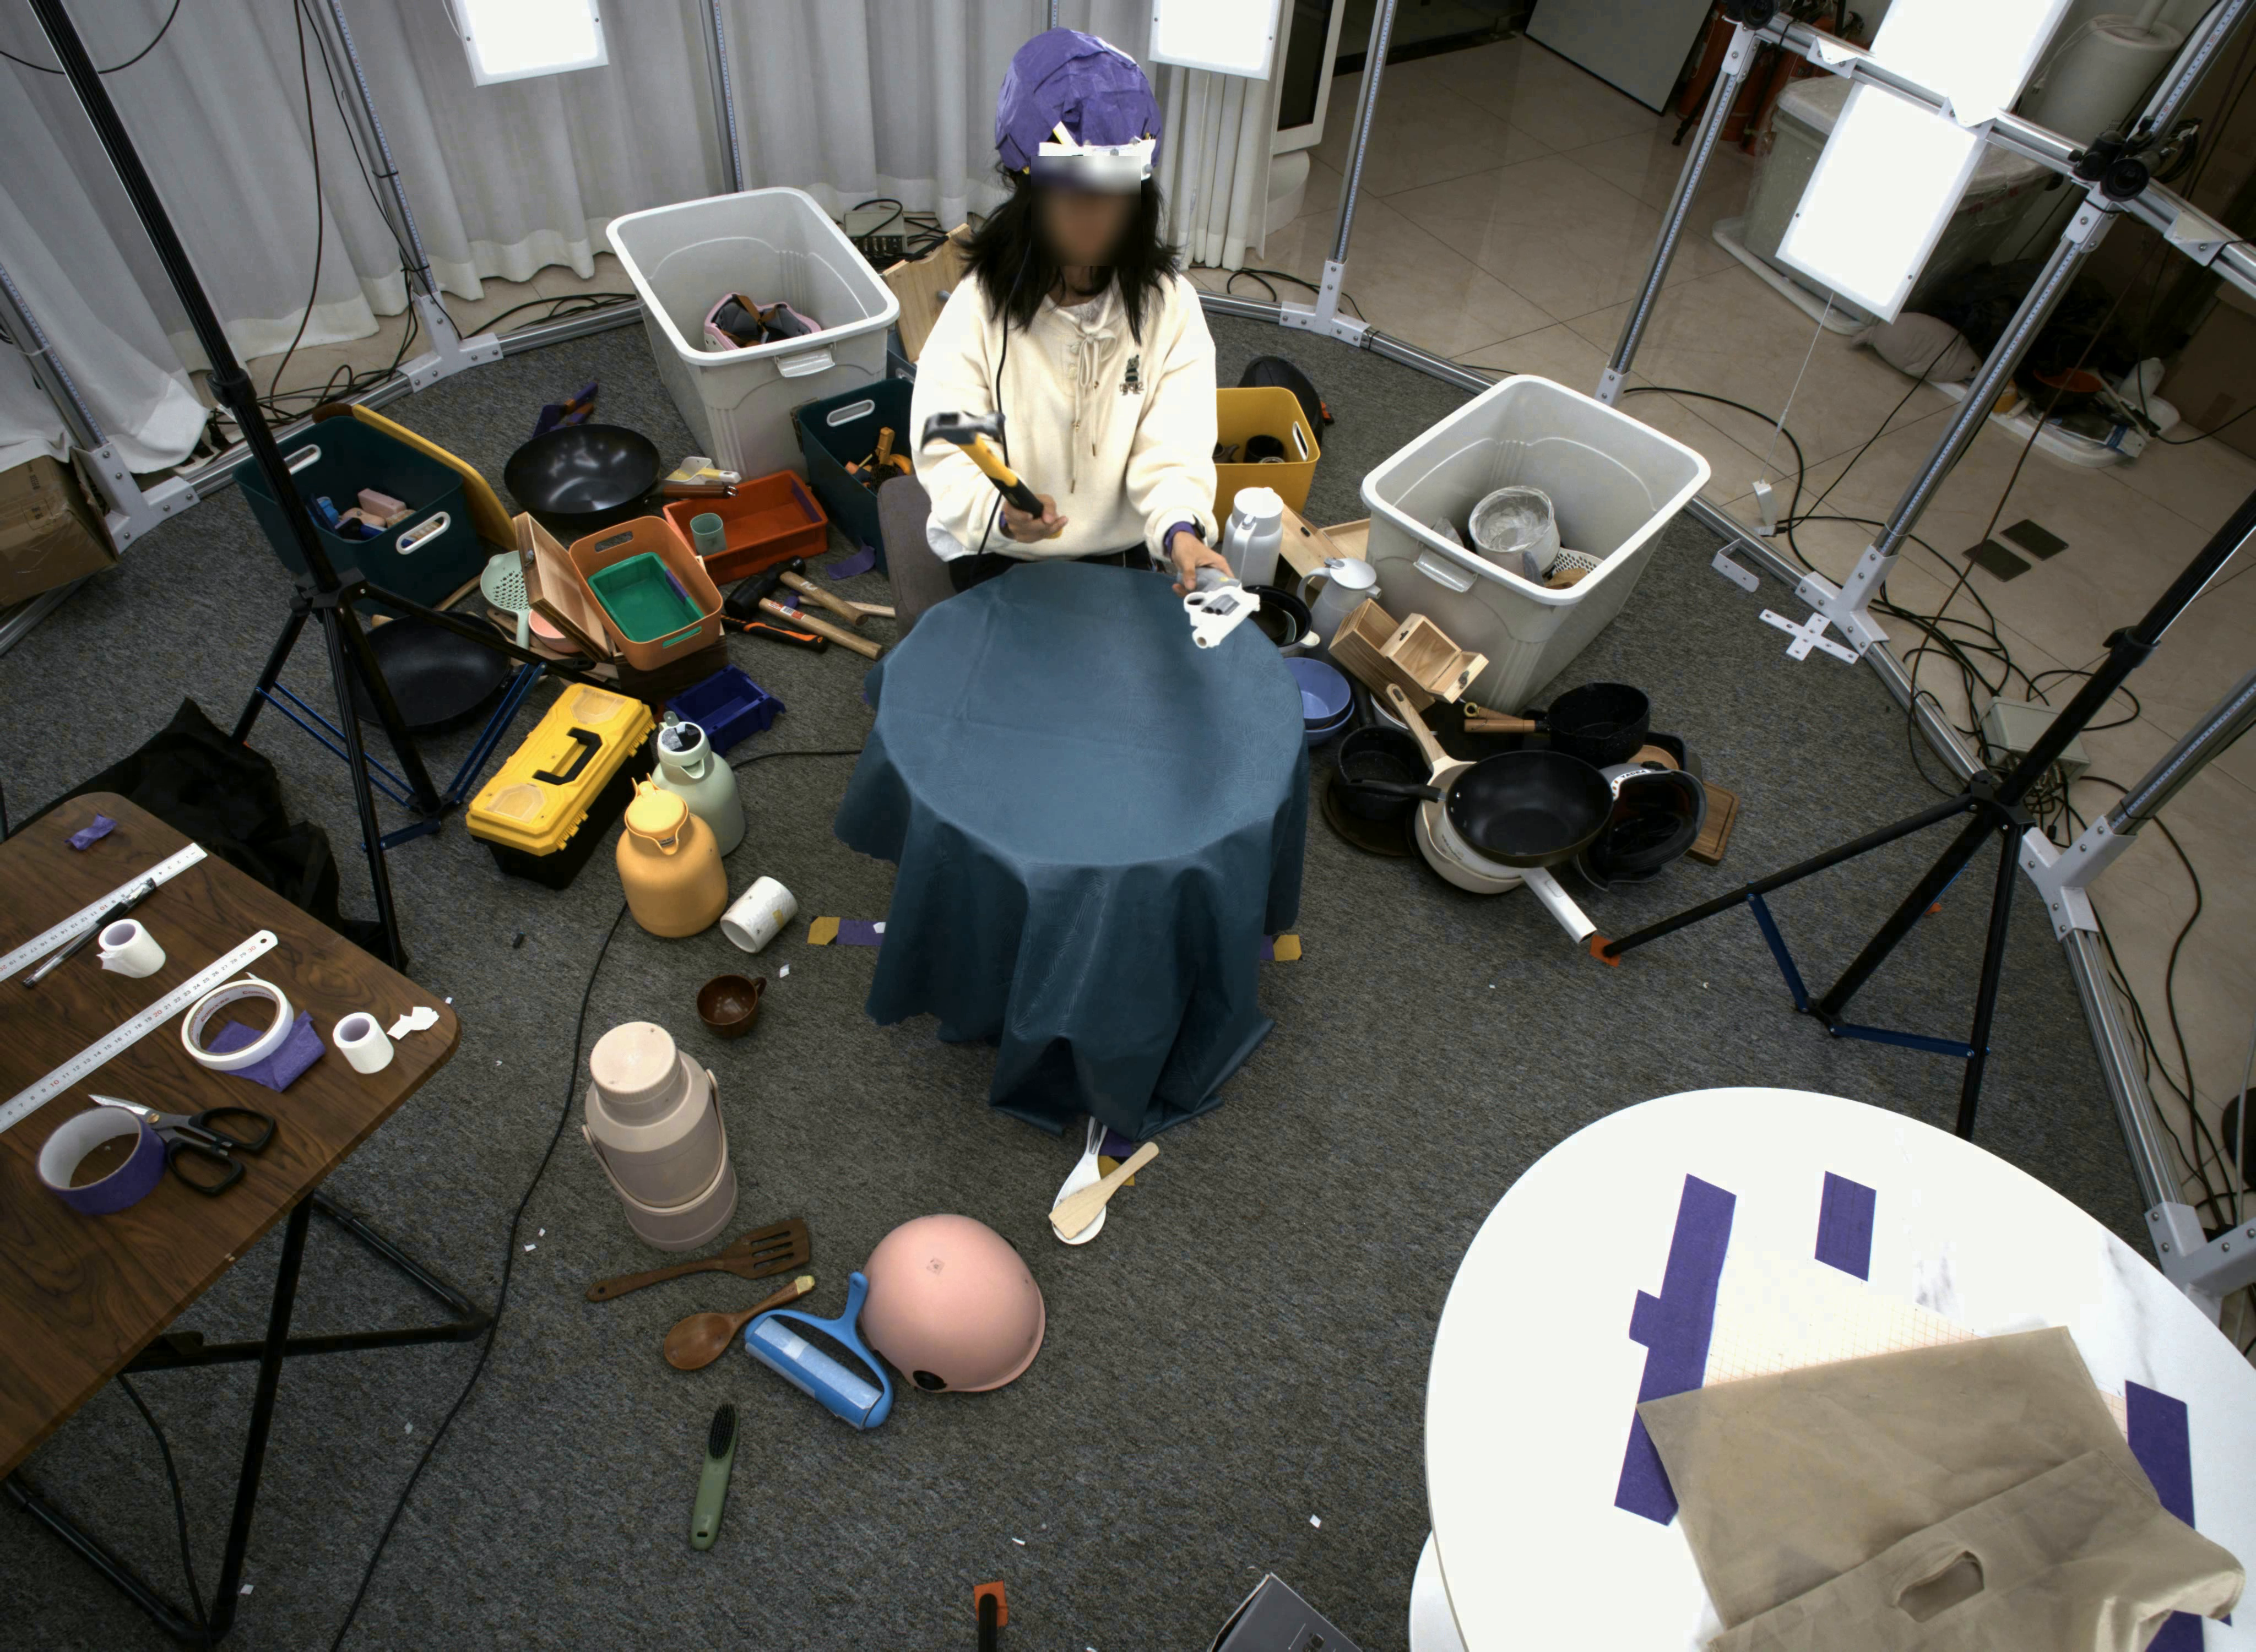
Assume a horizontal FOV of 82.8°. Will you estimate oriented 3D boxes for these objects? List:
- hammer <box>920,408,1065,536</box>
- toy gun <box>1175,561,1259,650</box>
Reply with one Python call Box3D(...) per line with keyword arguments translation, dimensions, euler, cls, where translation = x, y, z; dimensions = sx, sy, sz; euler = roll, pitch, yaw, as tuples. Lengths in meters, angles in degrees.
Box3D(translation=(-0.160, -0.457, 1.697), dimensions=(0.132, 0.334, 0.032), euler=(2, 81, 20), cls="hammer")
Box3D(translation=(0.101, -0.300, 1.732), dimensions=(0.142, 0.038, 0.212), euler=(14, 37, 24), cls="toy gun")
